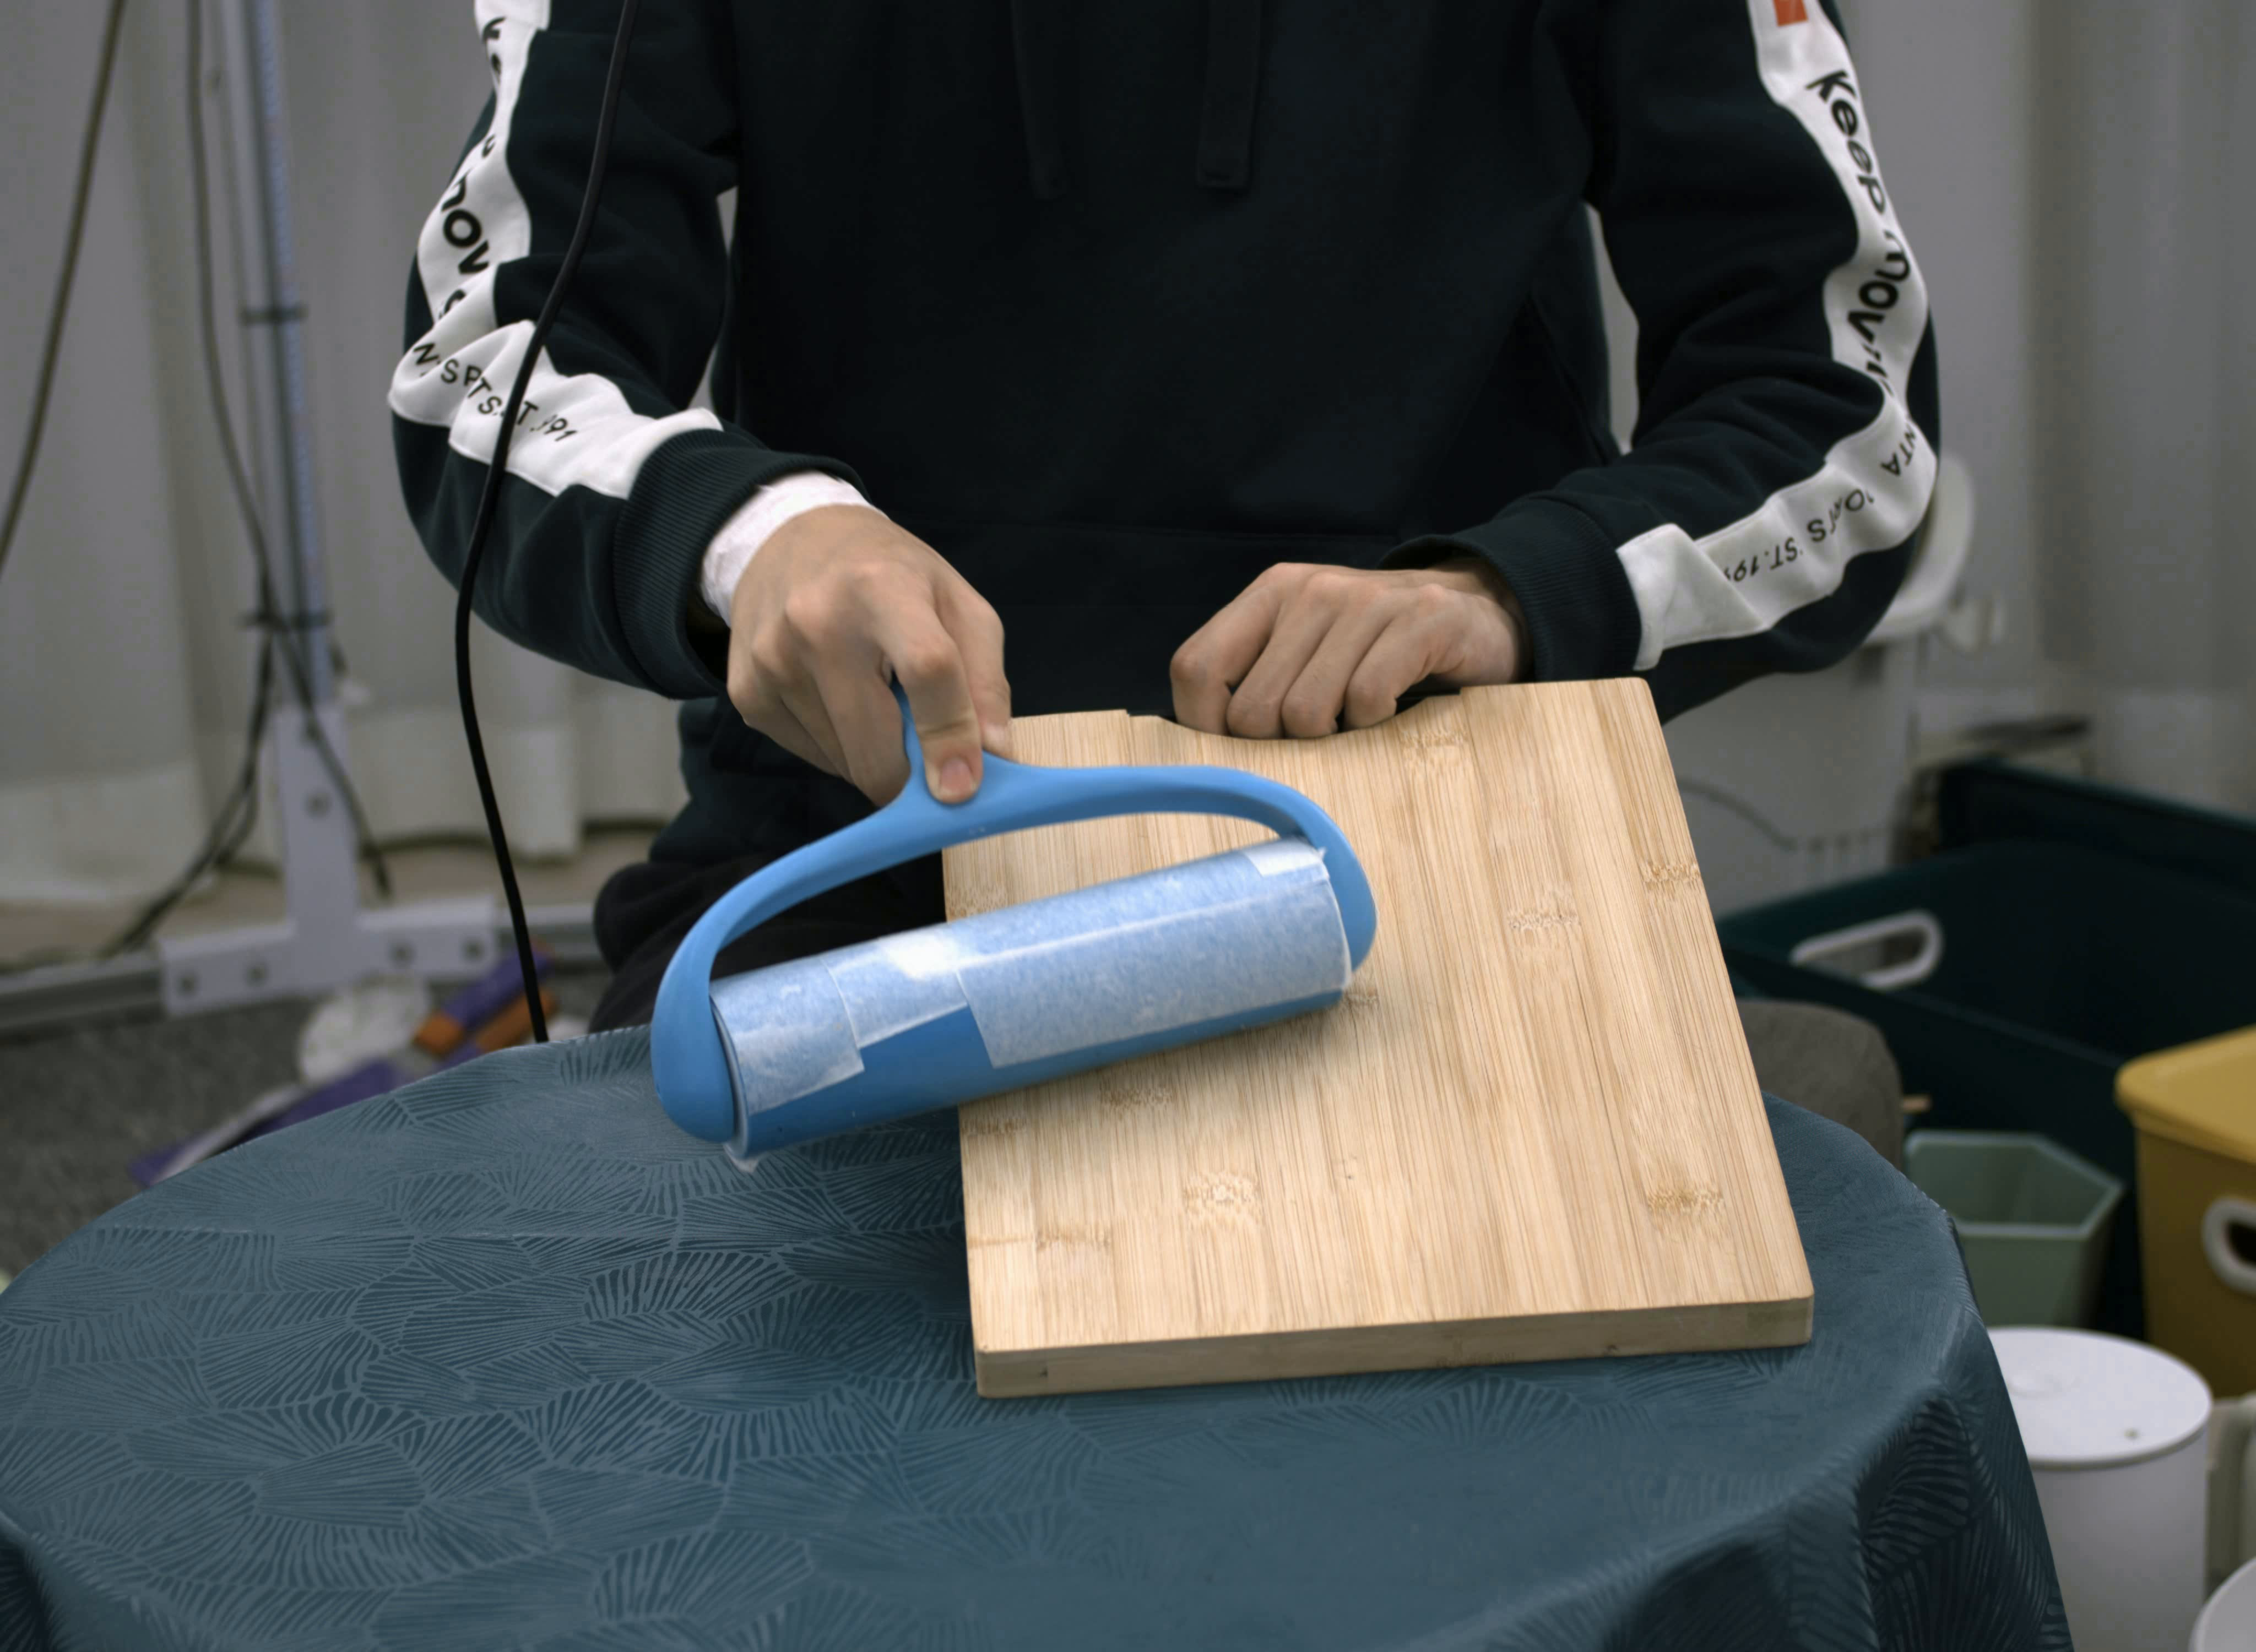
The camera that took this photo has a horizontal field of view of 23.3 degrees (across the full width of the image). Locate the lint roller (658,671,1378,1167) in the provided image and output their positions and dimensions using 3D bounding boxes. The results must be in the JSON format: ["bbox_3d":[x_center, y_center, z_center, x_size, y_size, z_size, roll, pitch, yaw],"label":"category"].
[{"bbox_3d":[-0.055,0.006,1.672,0.228,0.067,0.183,-17,55,-18],"label":"lint roller"}]

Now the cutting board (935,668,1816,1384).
[{"bbox_3d":[0.066,0.055,1.692,0.250,0.023,0.353,-4,32,-2],"label":"cutting board"}]
